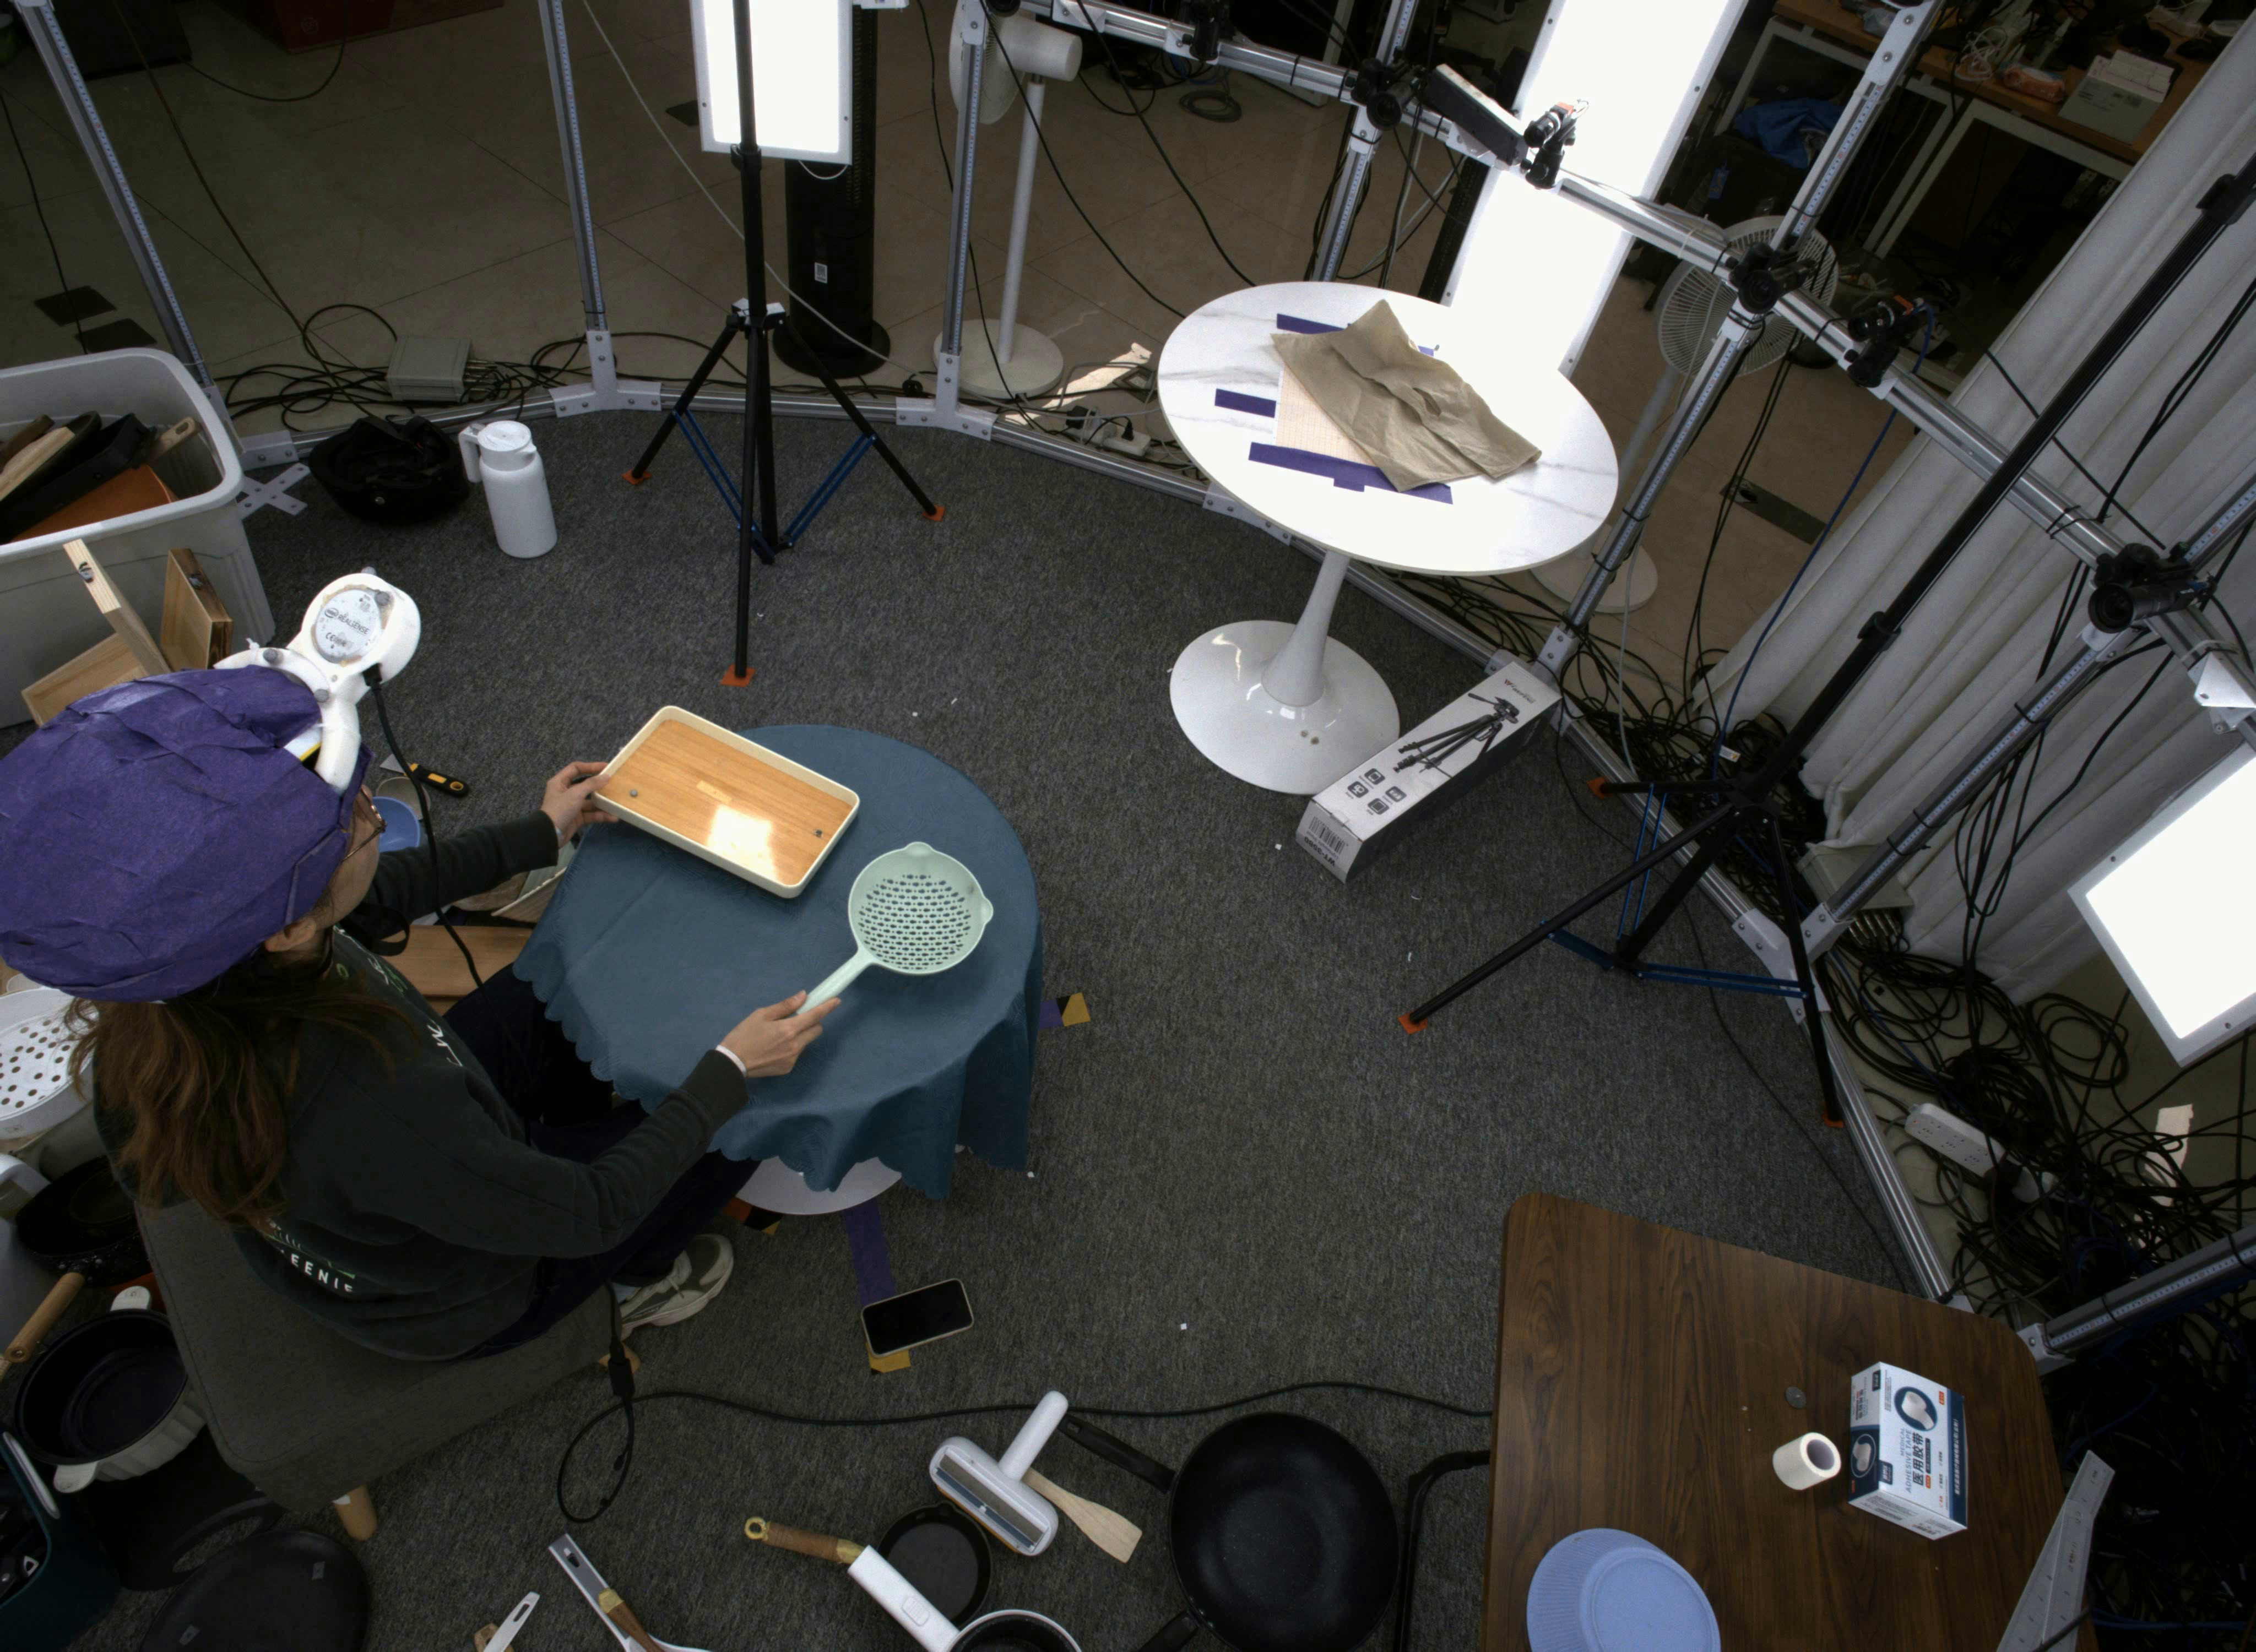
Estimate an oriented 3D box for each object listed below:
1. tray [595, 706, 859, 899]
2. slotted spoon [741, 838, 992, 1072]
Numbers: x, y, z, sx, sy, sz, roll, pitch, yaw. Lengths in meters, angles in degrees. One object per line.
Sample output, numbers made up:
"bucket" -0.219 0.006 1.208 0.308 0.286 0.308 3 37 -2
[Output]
"tray" -0.523 -0.035 1.684 0.299 0.028 0.190 26 47 -2
"slotted spoon" -0.323 0.162 1.559 0.168 0.076 0.359 42 51 7
